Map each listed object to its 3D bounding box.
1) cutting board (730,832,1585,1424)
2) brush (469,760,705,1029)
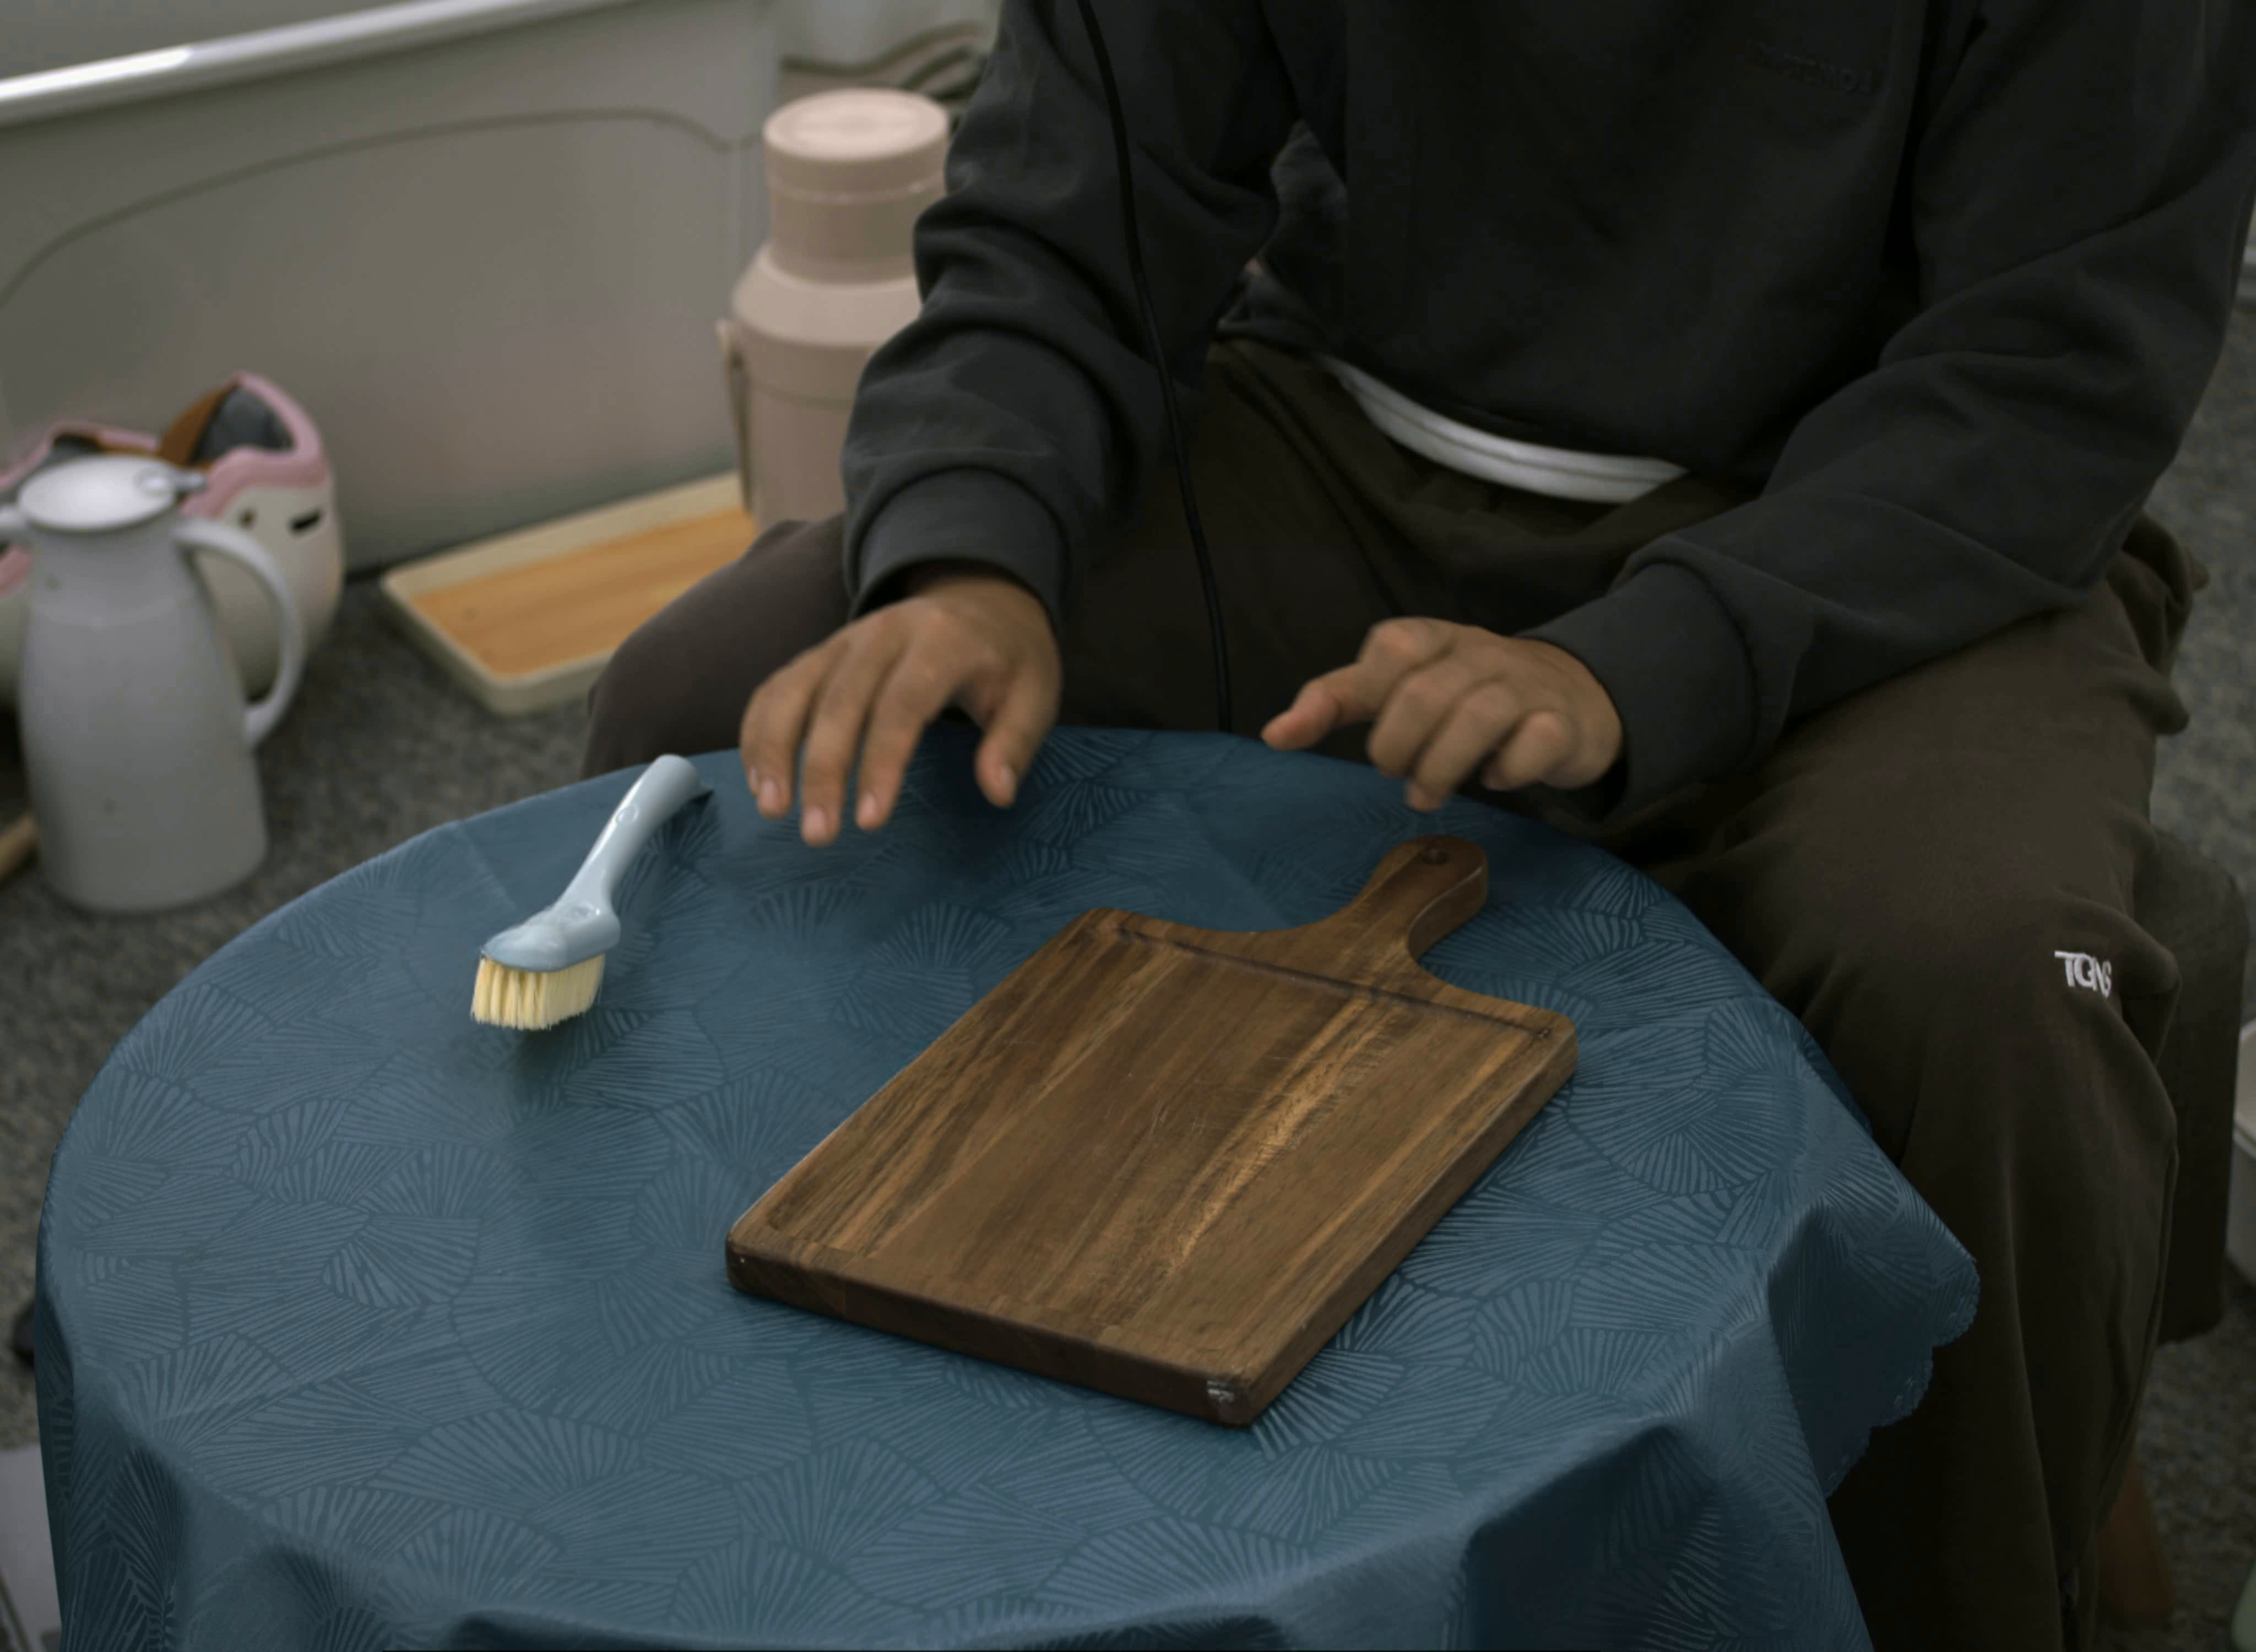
[{"bbox_3d":[0.038,0.086,1.907,0.200,0.023,0.358,13,31,26],"label":"cutting board"},{"bbox_3d":[-0.192,0.026,2.034,0.037,0.049,0.232,8,20,8],"label":"brush"}]
